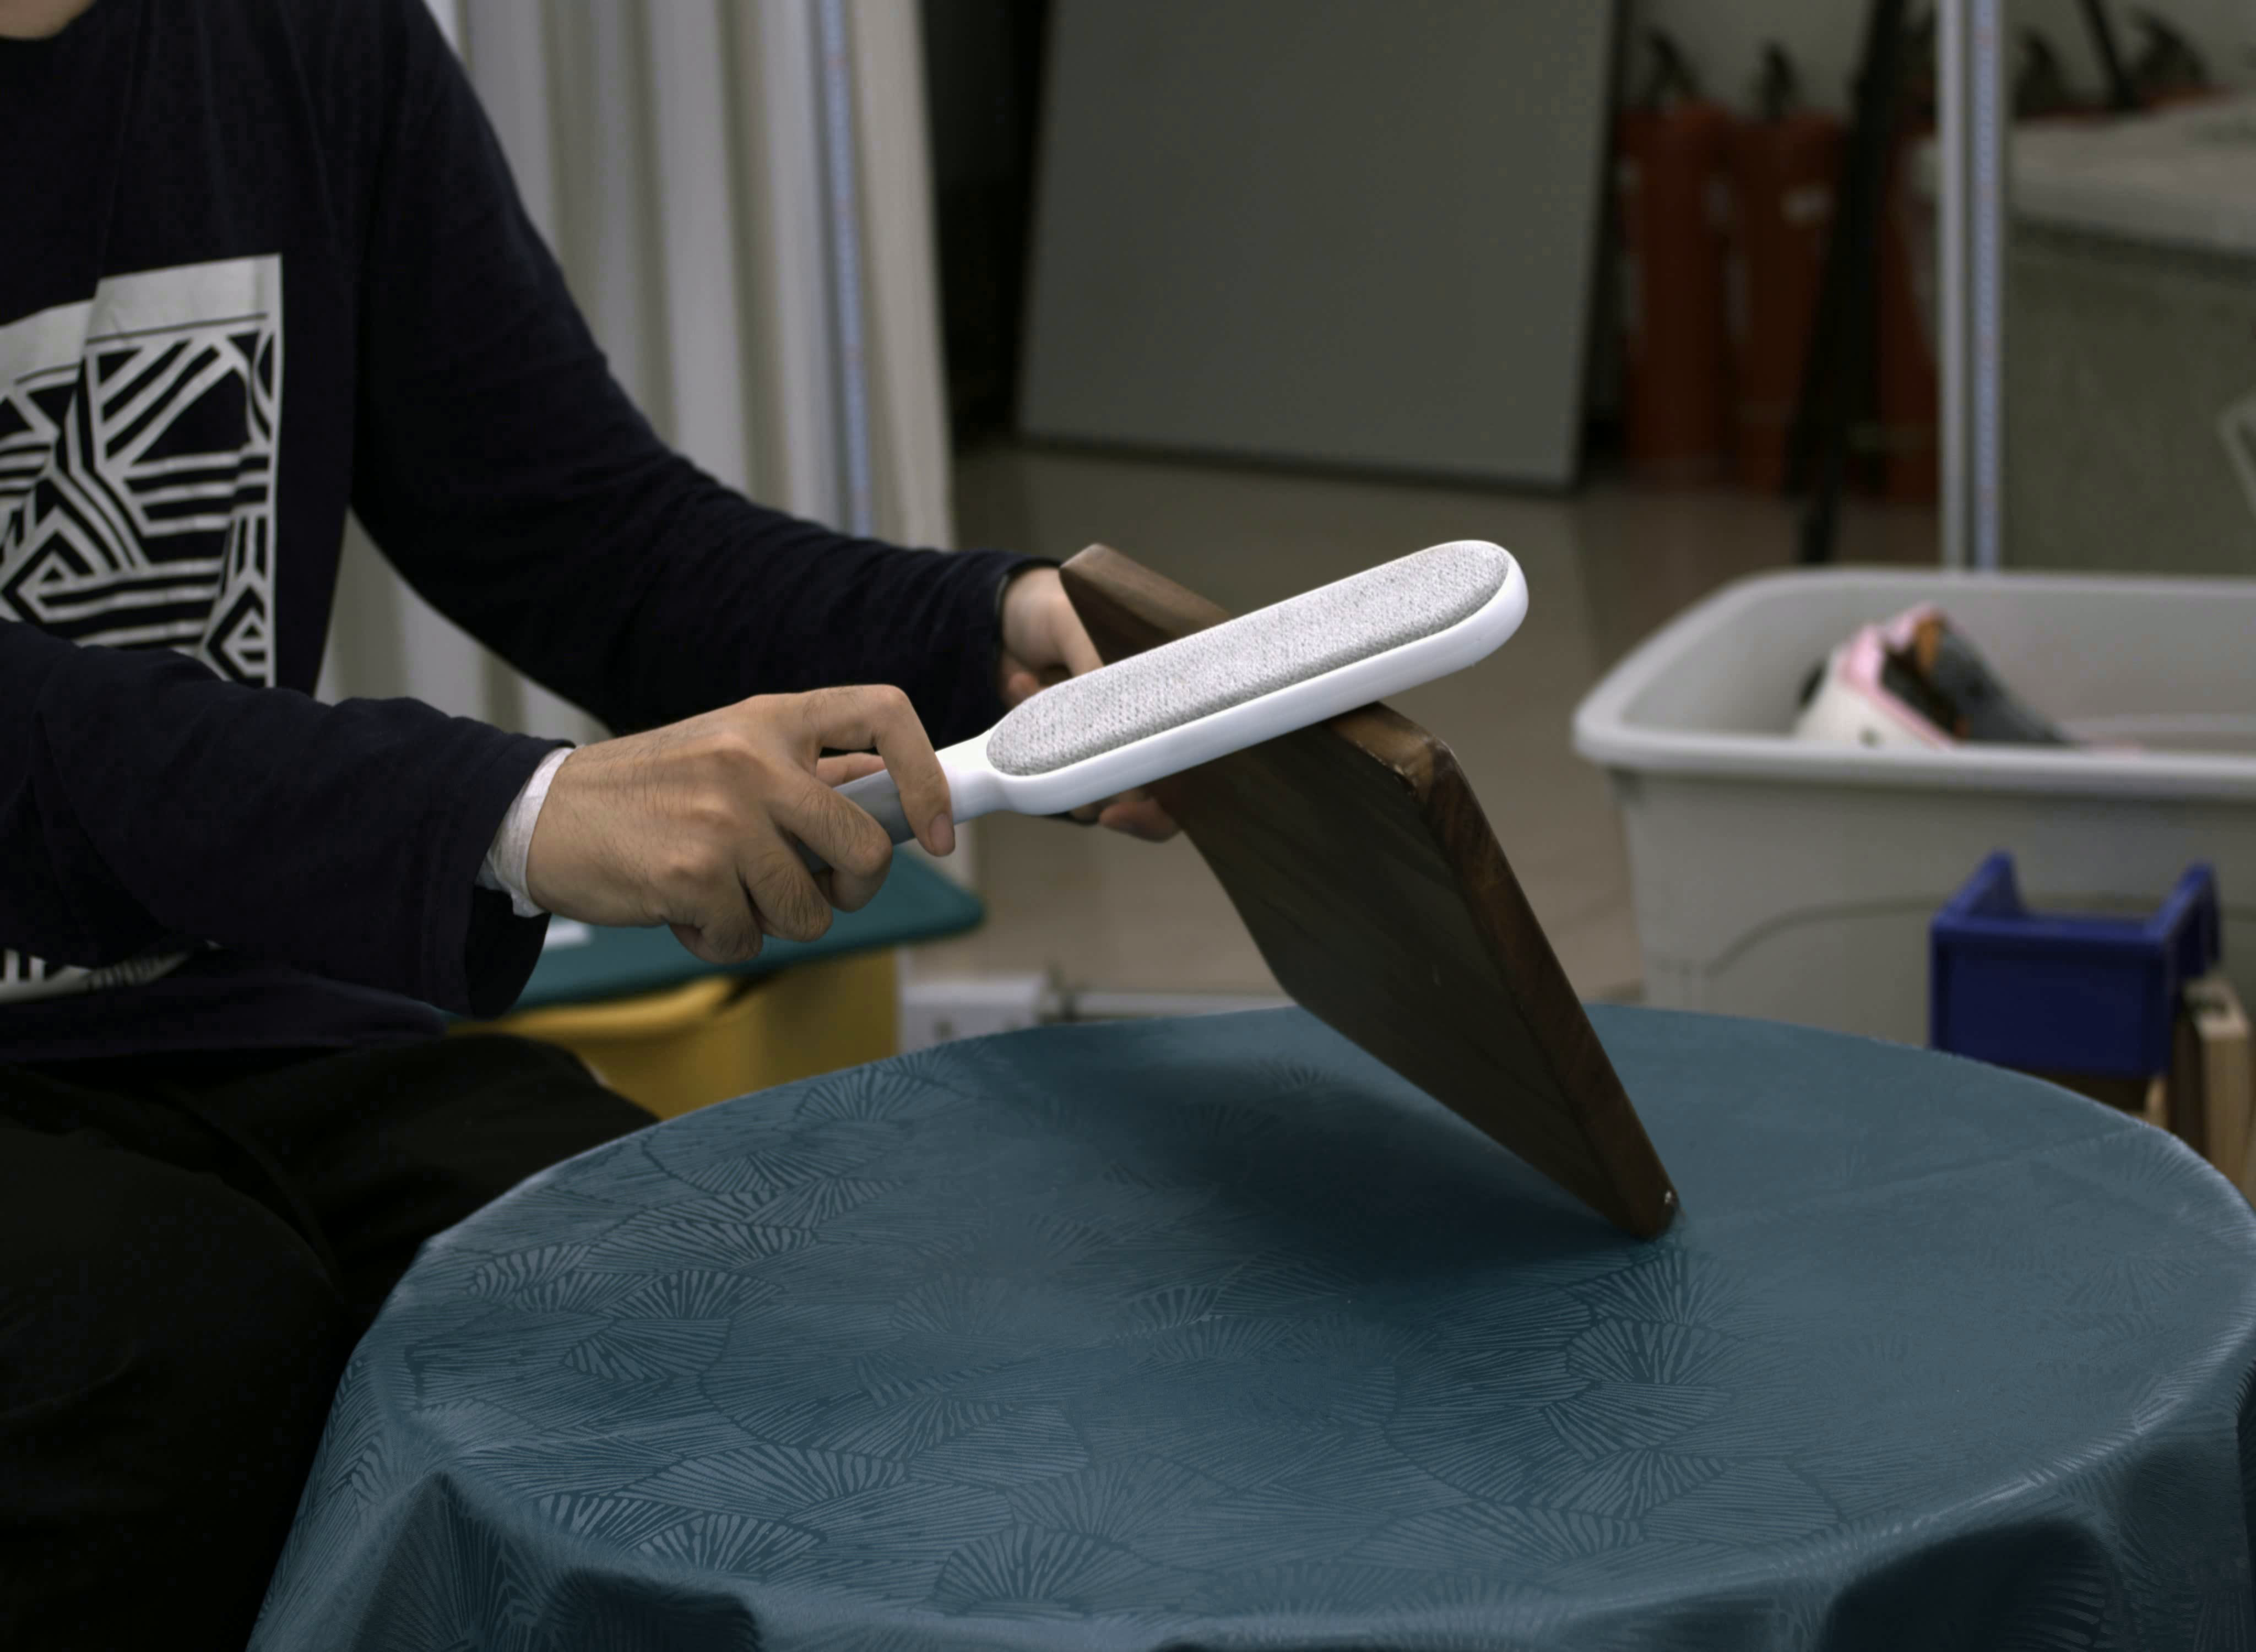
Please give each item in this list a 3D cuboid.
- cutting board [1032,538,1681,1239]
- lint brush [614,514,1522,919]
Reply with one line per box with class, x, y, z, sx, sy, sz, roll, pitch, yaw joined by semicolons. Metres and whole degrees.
cutting board;0.053;0.003;1.795;0.023;0.200;0.356;-35;28;-13
lint brush;-0.021;-0.031;1.676;0.308;0.021;0.060;-20;34;13
